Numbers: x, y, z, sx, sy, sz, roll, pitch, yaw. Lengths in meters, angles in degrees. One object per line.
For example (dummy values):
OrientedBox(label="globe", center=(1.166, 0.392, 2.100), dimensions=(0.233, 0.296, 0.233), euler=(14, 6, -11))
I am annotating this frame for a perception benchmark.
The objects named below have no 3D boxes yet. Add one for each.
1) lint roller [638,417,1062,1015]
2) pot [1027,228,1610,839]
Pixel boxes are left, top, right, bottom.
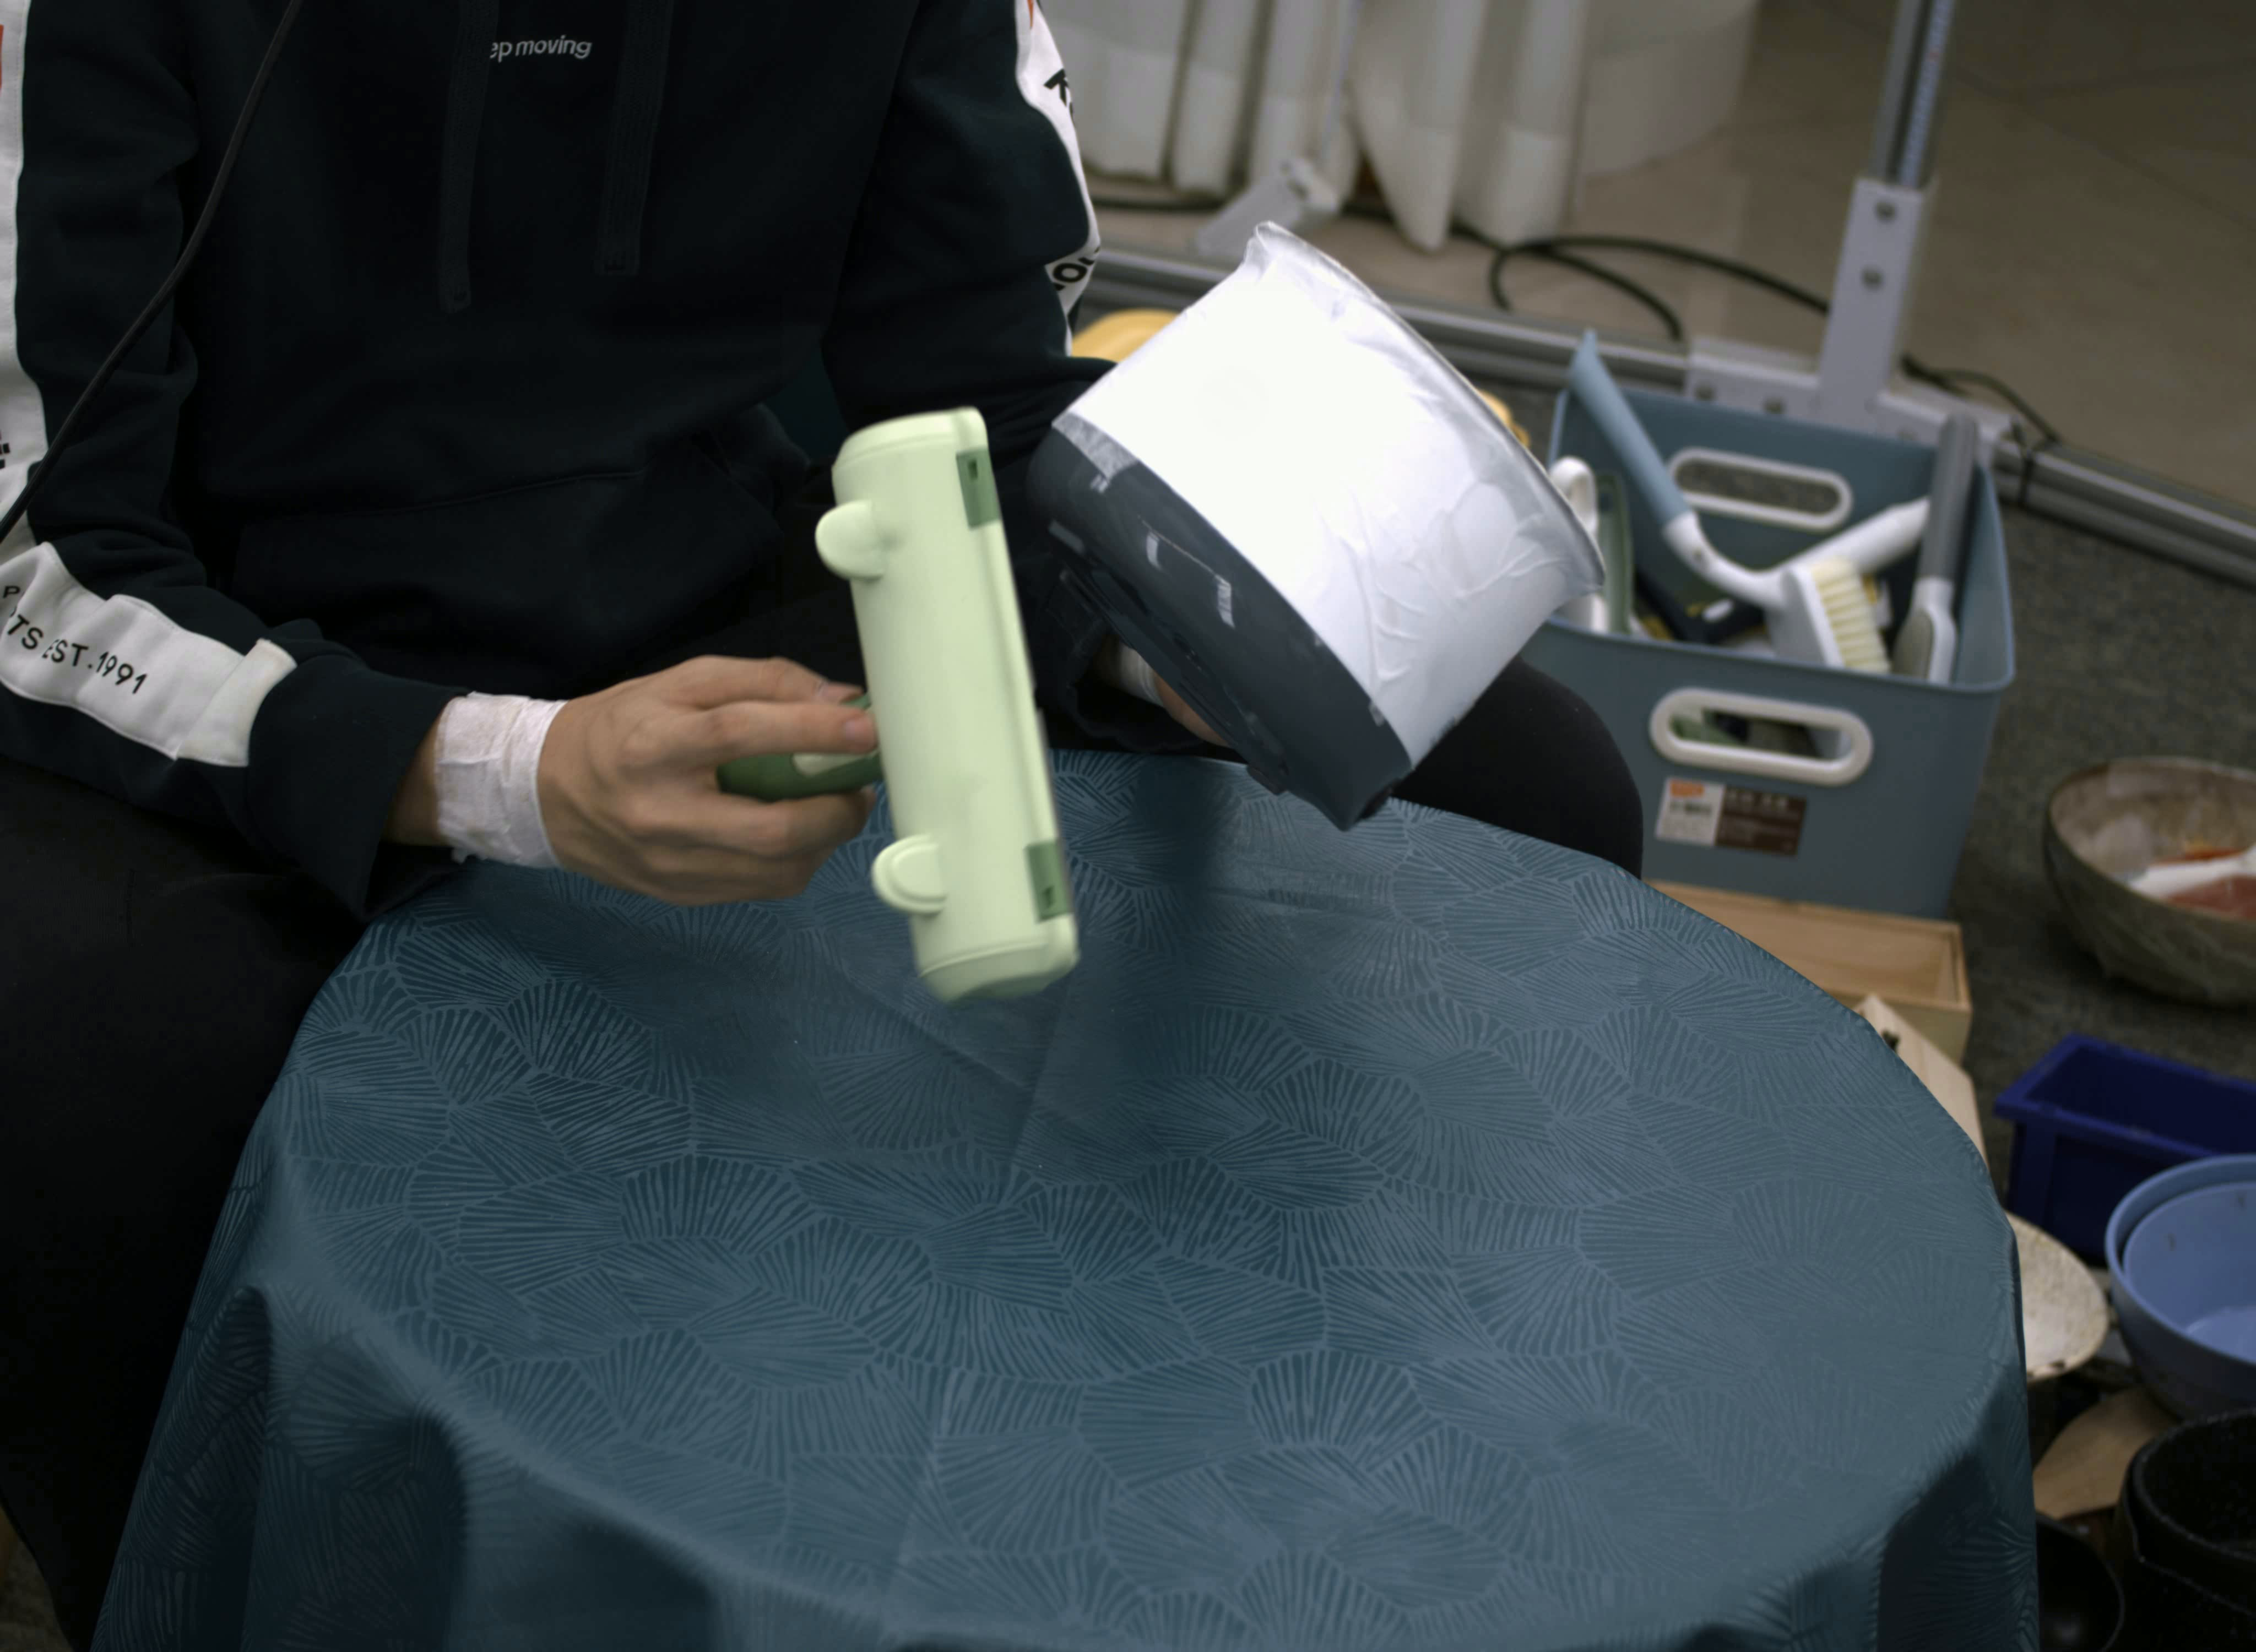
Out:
OrientedBox(label="lint roller", center=(-0.111, -0.024, 1.811), dimensions=(0.183, 0.199, 0.081), euler=(-16, -13, 30))
OrientedBox(label="pot", center=(0.063, -0.098, 1.900), dimensions=(0.179, 0.136, 0.233), euler=(45, -4, 7))
